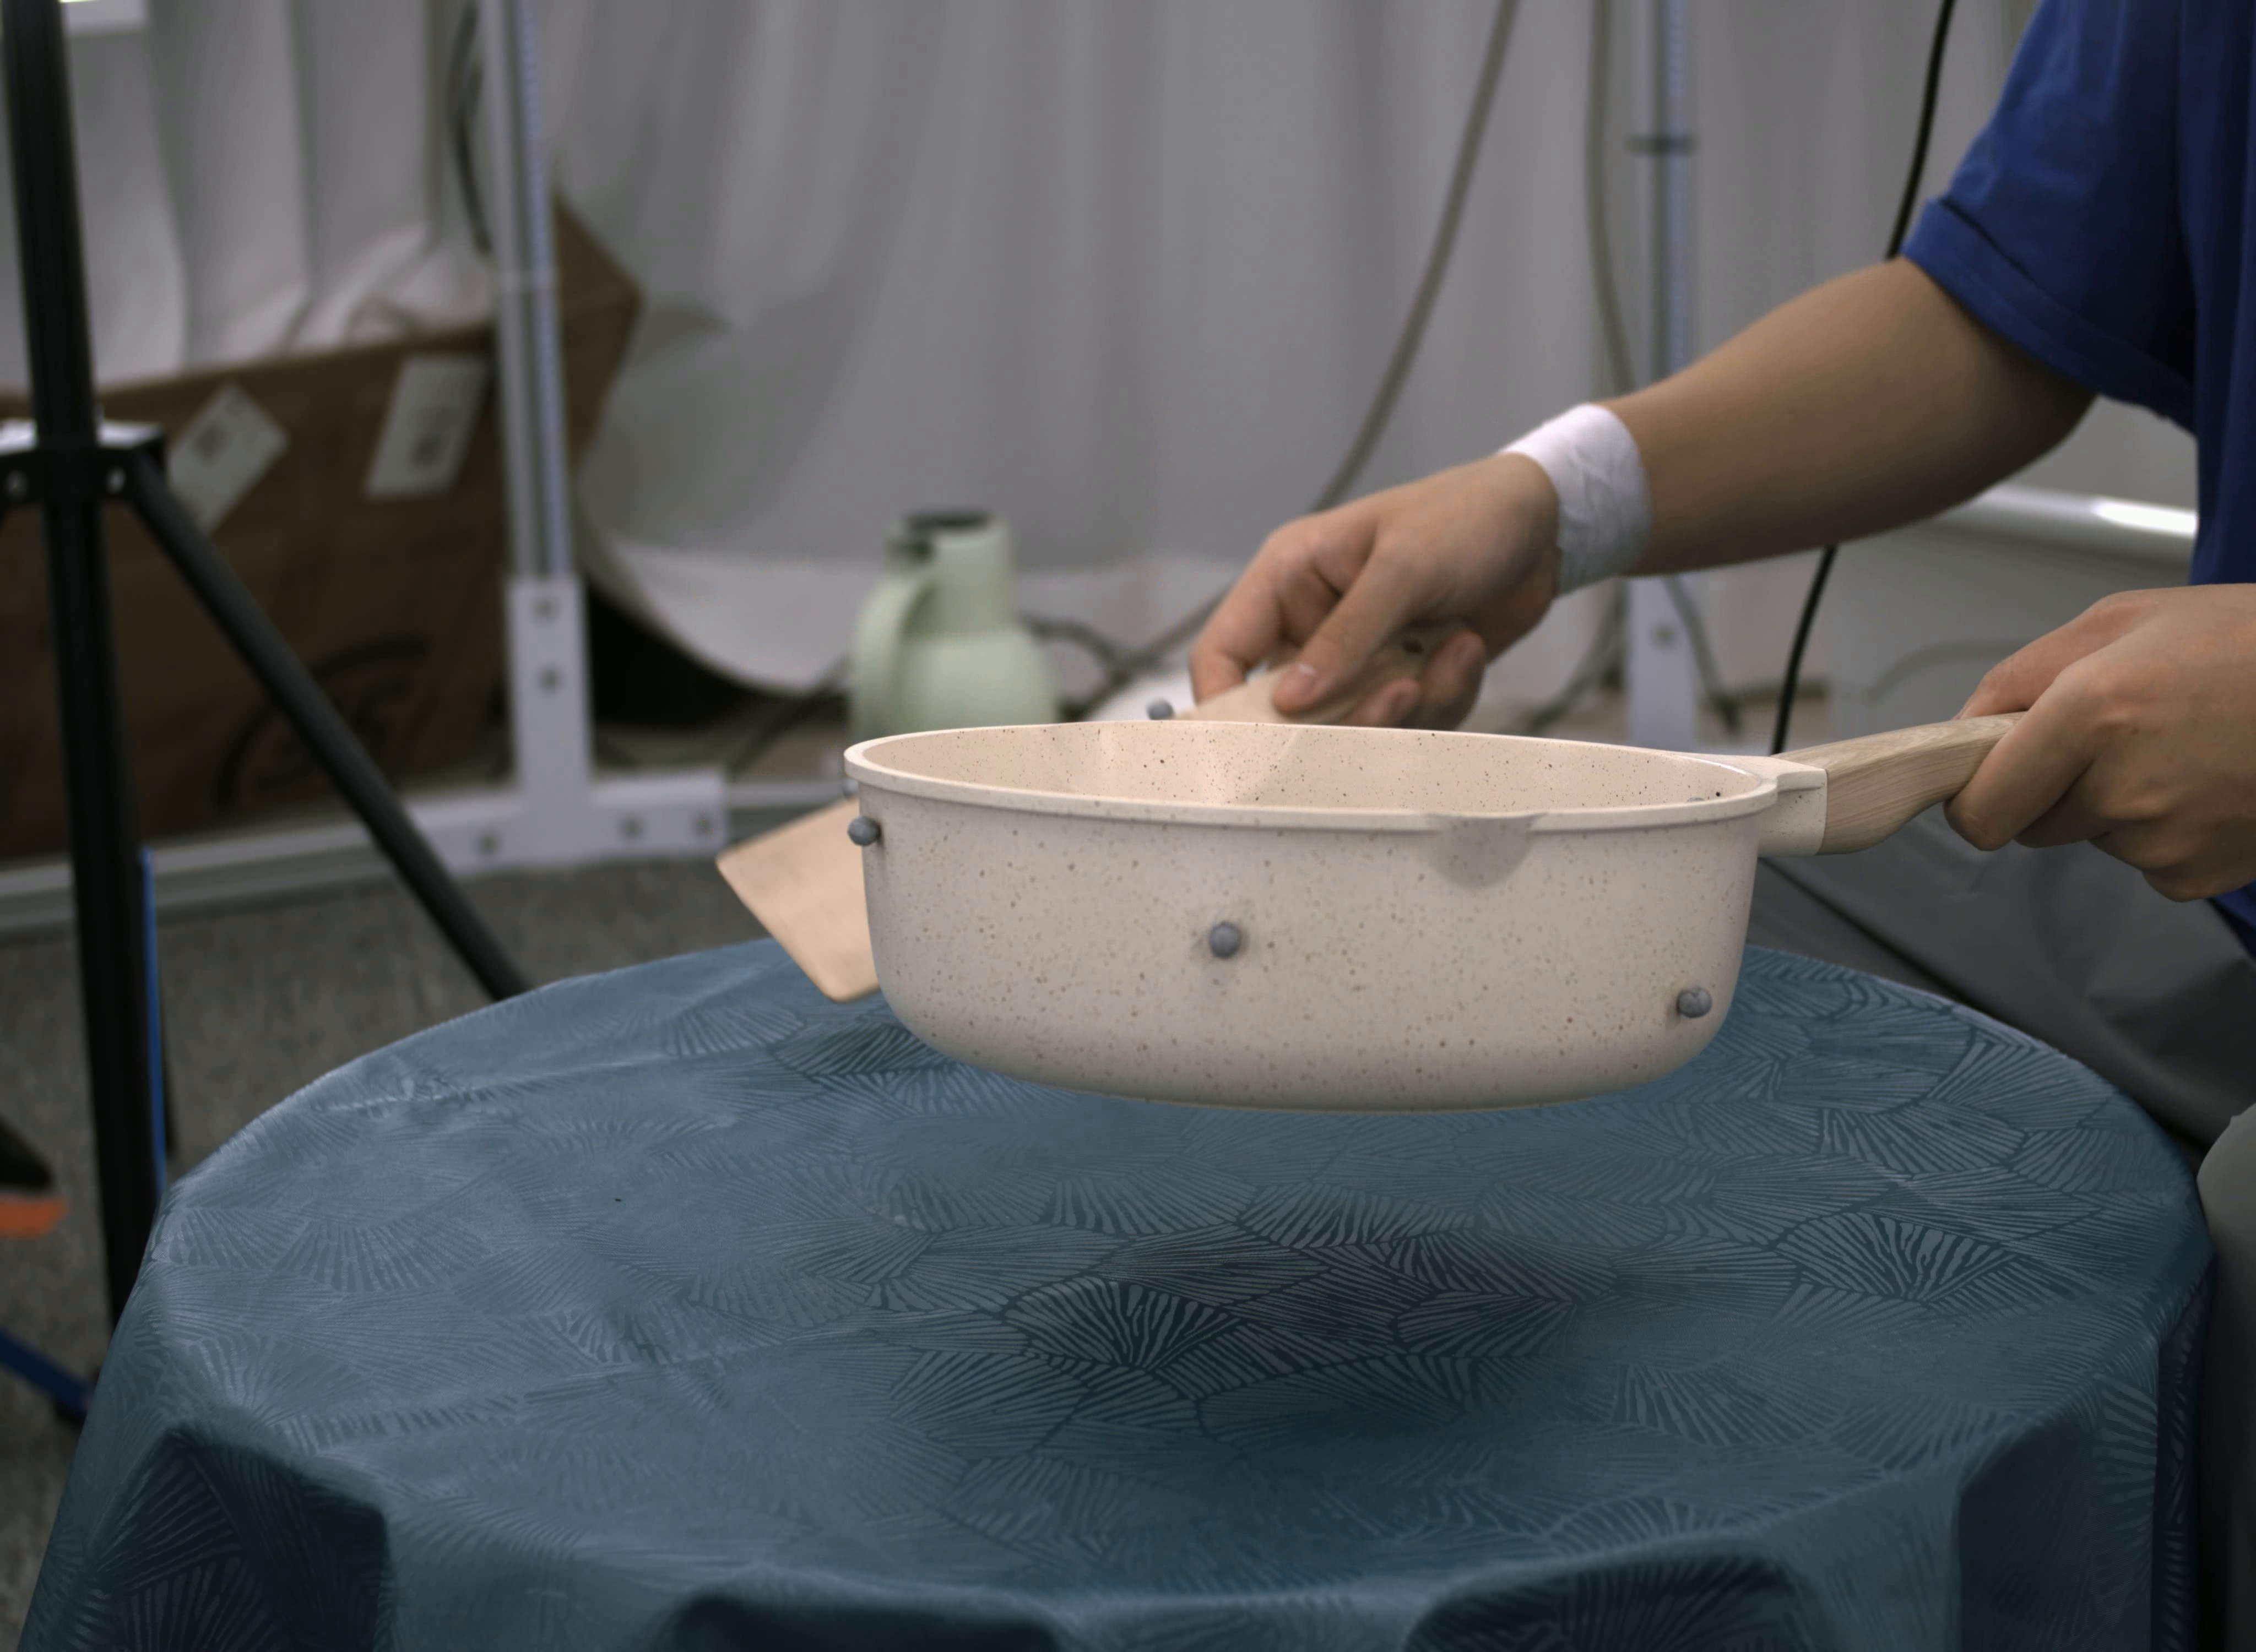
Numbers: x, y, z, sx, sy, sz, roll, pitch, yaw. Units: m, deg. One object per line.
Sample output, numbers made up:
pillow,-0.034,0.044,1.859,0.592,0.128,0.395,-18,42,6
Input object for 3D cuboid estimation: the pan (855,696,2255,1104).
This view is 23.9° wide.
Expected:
pan,0.137,0.014,1.447,0.427,0.102,0.267,0,4,-18

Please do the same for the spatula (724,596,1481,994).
spatula,0.001,-0.020,1.754,0.287,0.010,0.073,-24,56,-29
